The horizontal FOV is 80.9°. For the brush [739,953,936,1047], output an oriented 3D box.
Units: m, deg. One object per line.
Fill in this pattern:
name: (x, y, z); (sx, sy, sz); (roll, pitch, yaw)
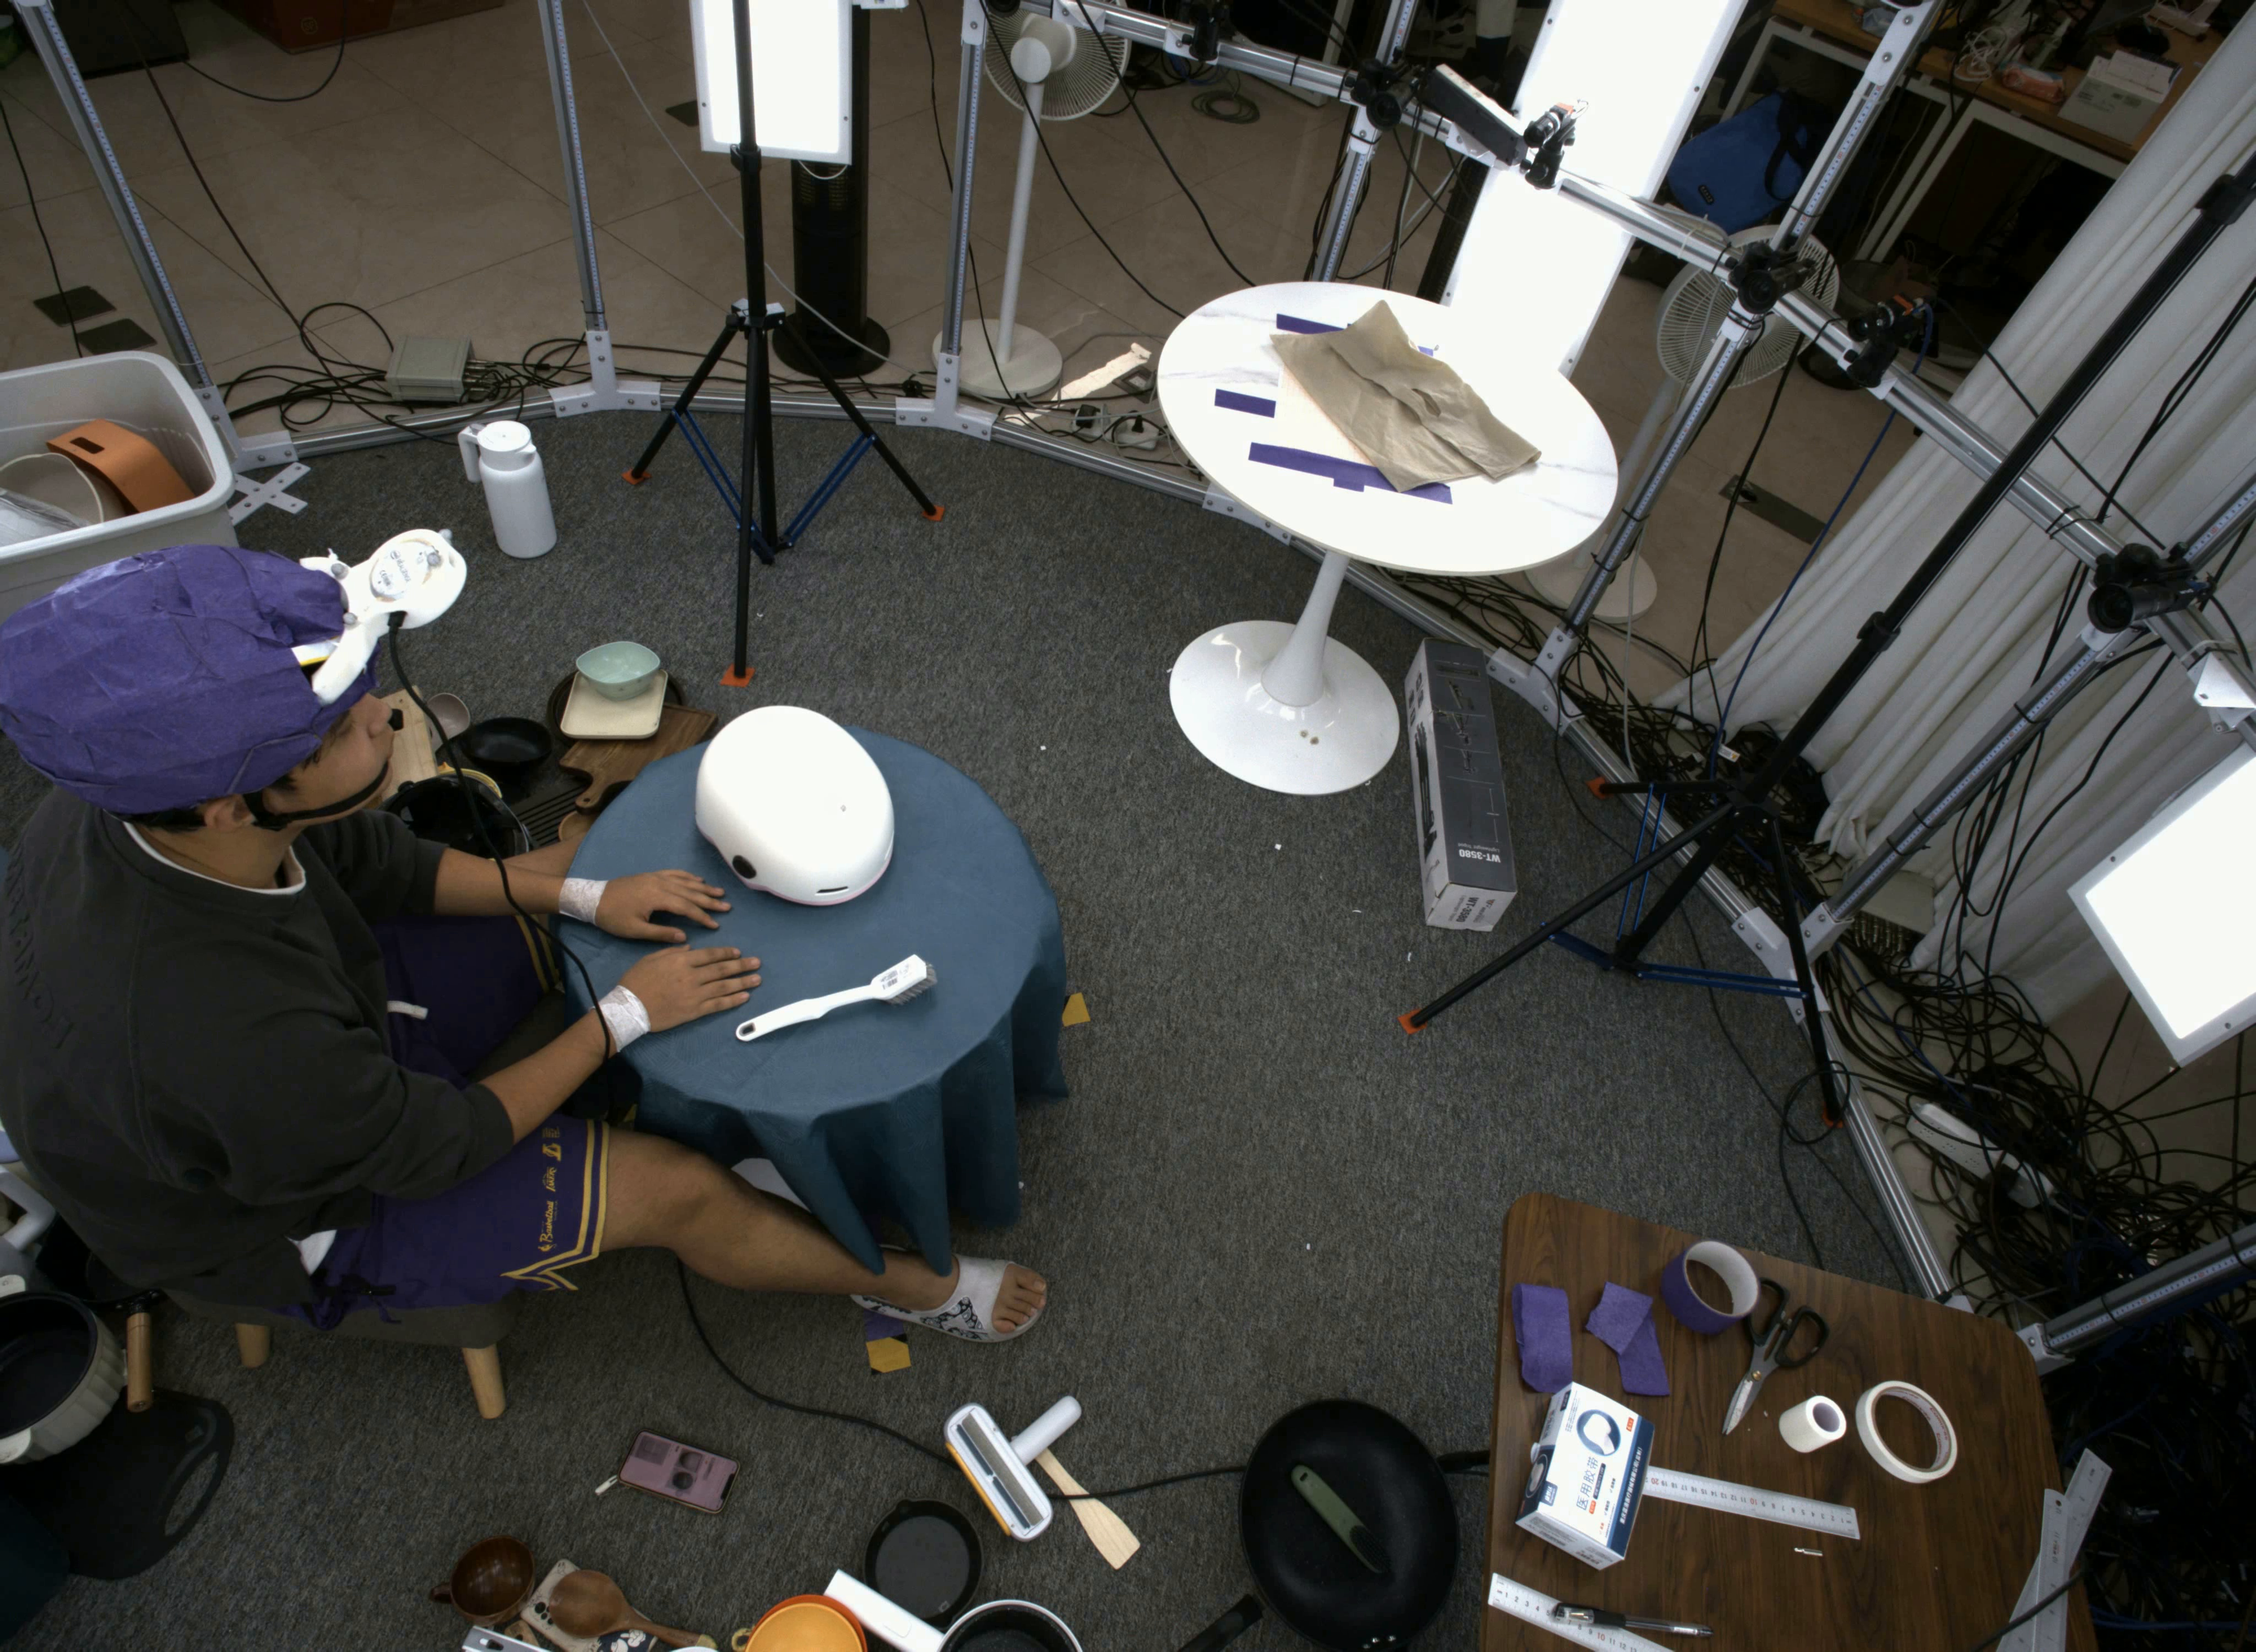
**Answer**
brush: (-0.350, 0.217, 1.571); (0.243, 0.052, 0.033); (-23, 56, -13)

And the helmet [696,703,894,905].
helmet: (-0.425, -0.047, 1.659); (0.263, 0.170, 0.237); (37, 54, 15)
